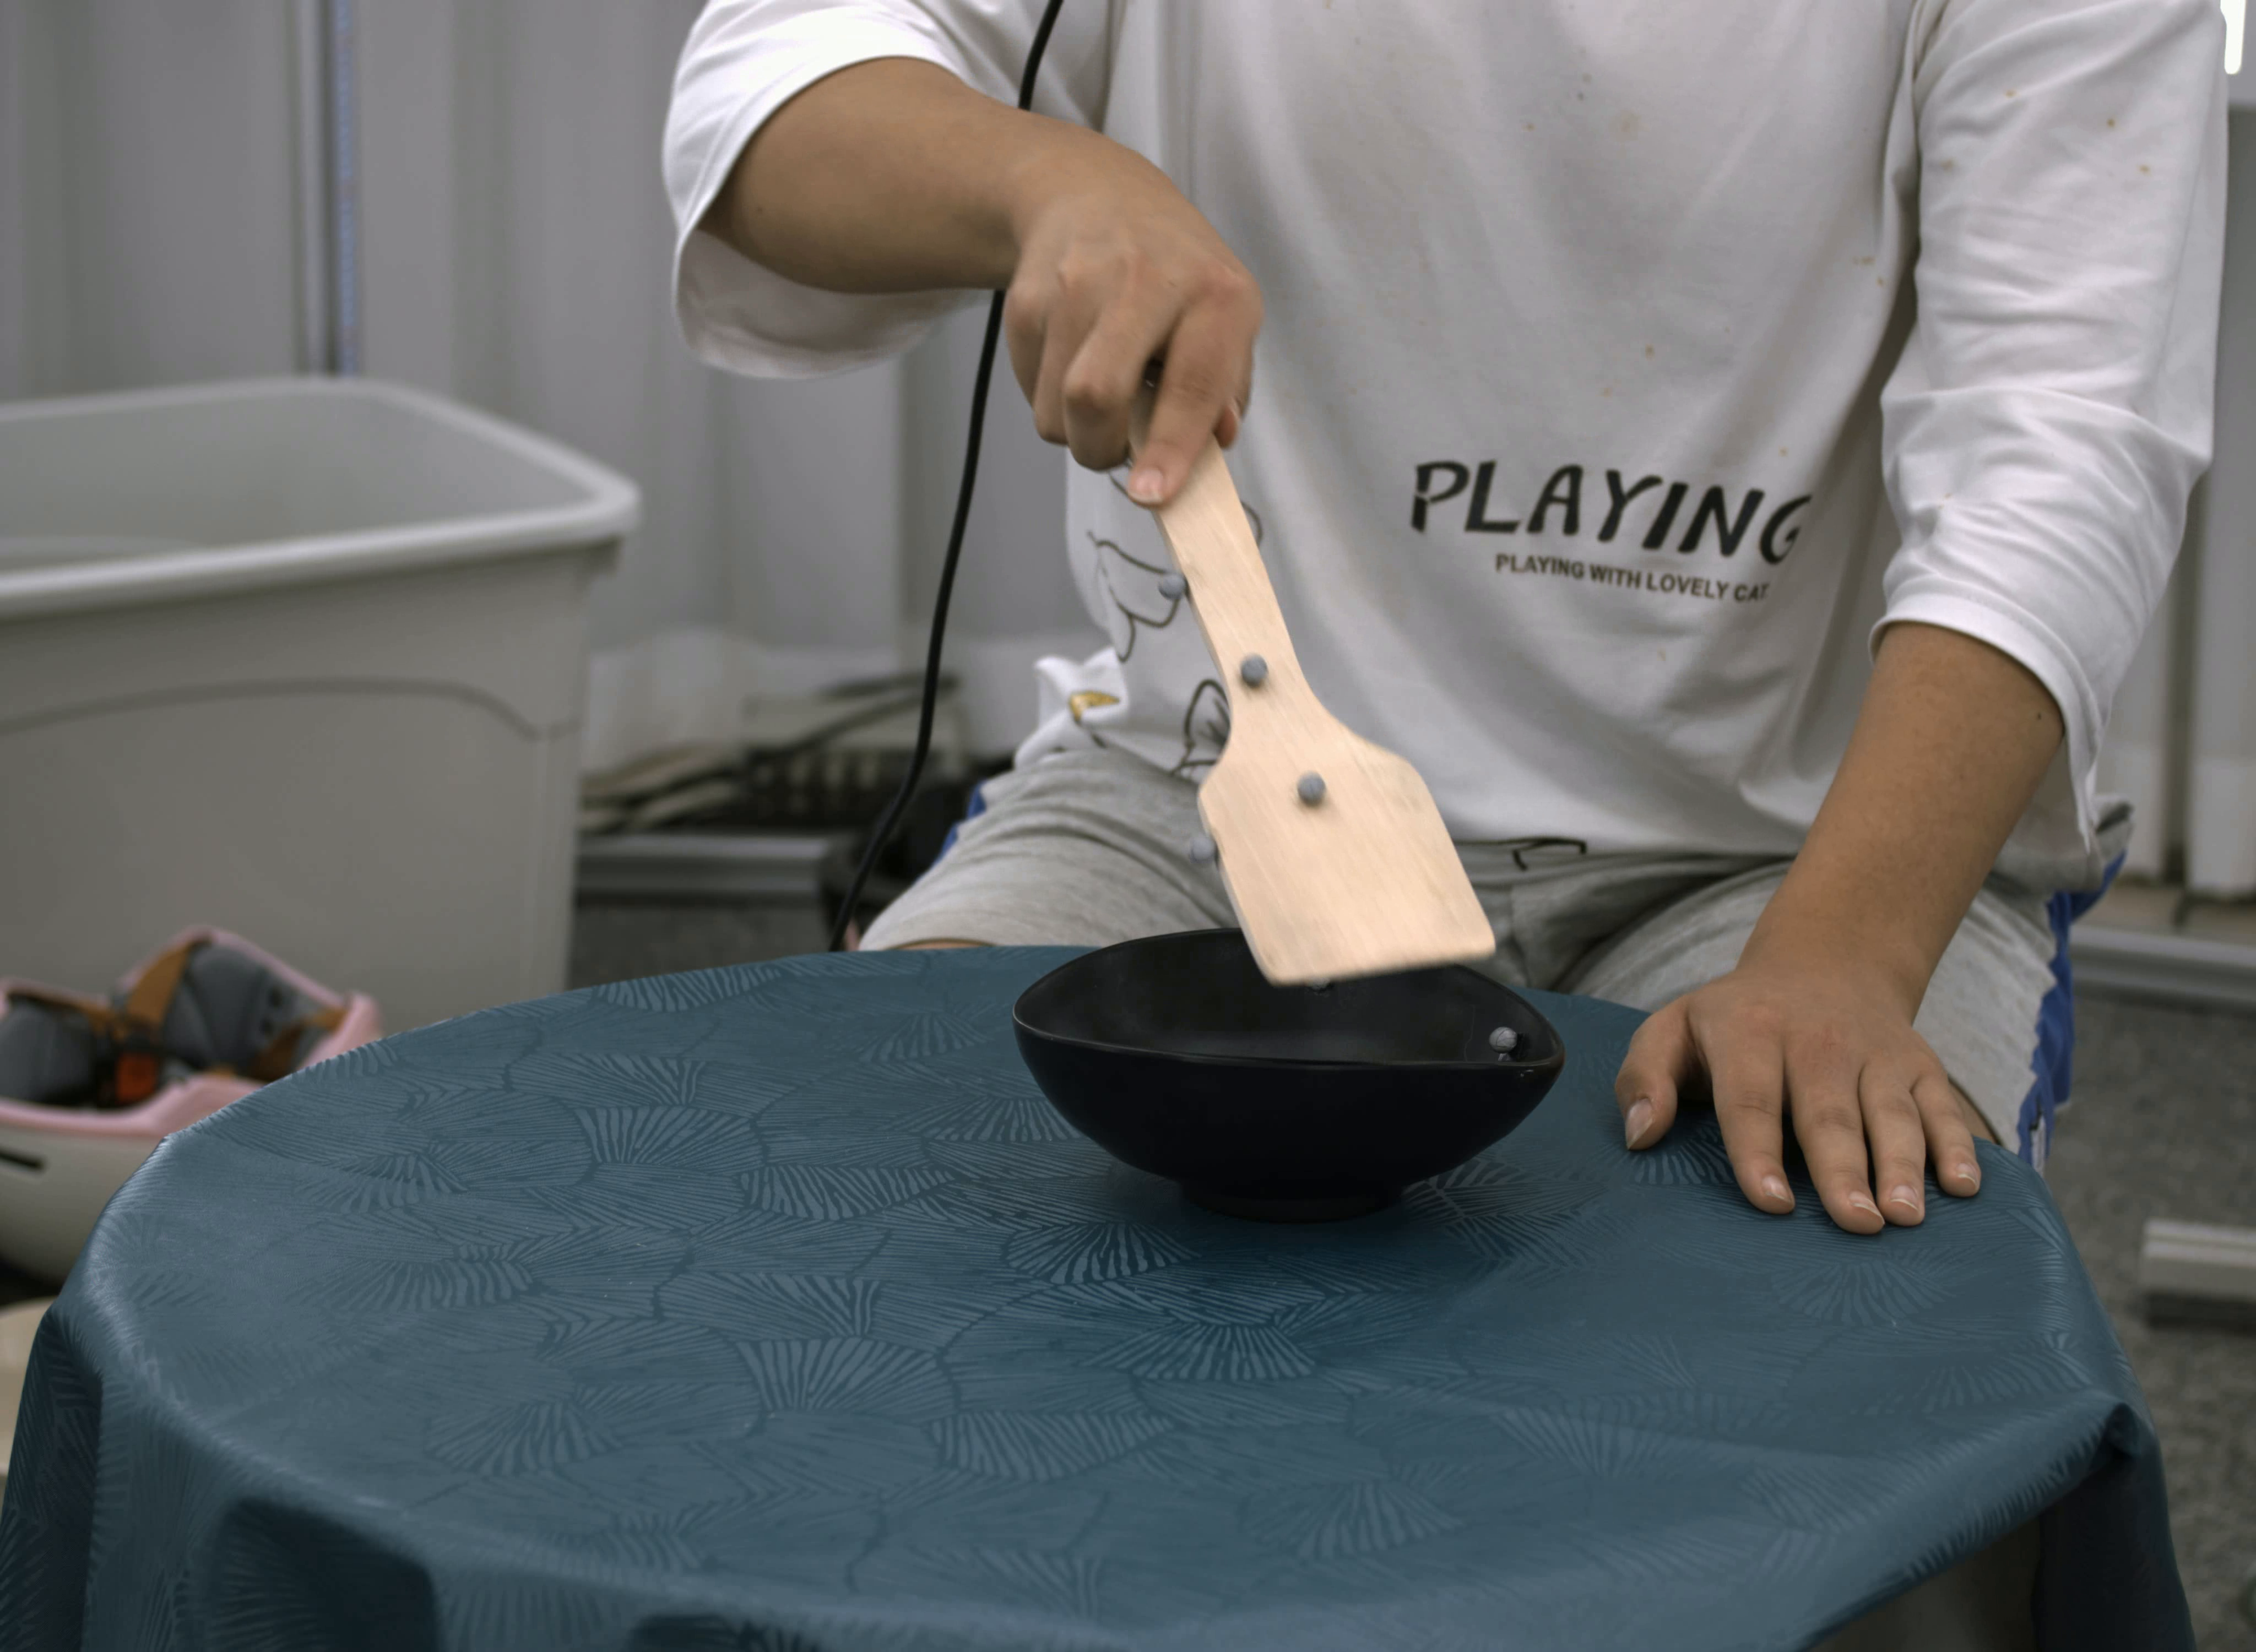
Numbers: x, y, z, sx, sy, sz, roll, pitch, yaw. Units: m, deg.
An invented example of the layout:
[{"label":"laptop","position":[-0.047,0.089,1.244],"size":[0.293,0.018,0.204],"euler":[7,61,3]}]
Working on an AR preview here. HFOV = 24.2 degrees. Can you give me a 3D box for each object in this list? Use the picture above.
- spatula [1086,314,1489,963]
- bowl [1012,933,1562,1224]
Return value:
[{"label":"spatula","position":[0.034,-0.063,1.616],"size":[0.072,0.011,0.289],"euler":[-8,47,-14]},{"label":"bowl","position":[0.048,0.082,1.627],"size":[0.170,0.067,0.136],"euler":[3,16,1]}]
